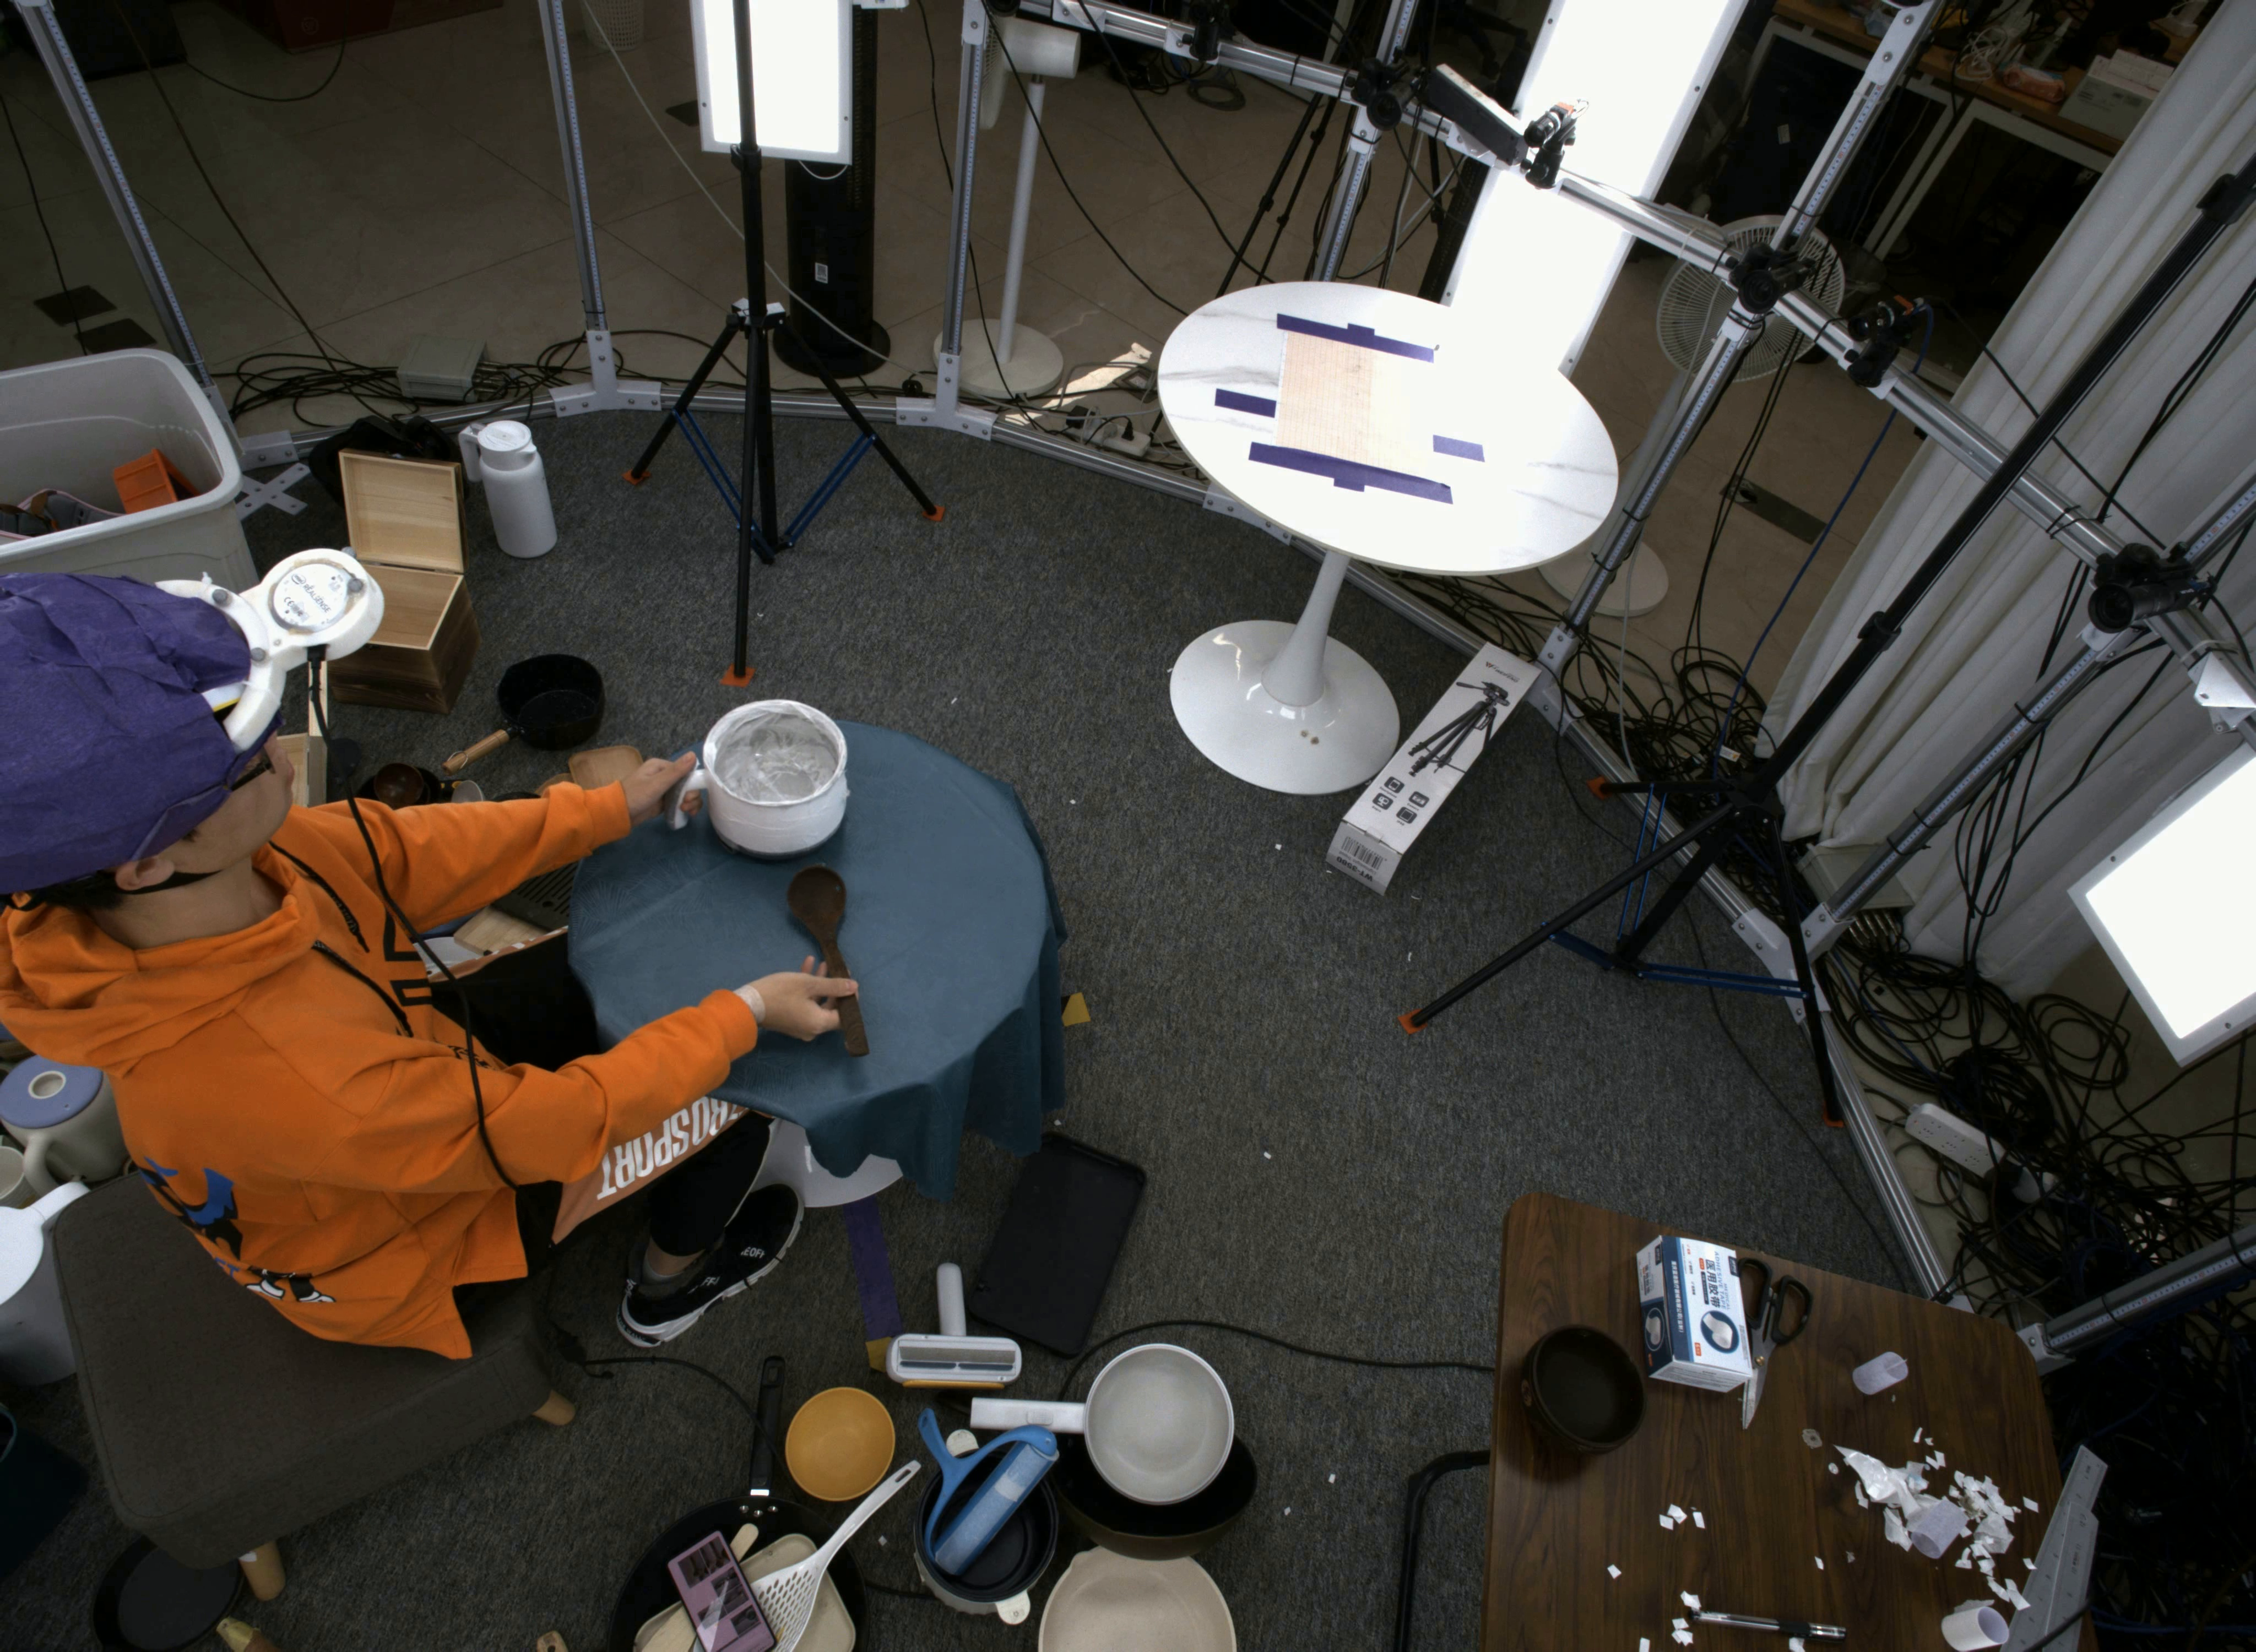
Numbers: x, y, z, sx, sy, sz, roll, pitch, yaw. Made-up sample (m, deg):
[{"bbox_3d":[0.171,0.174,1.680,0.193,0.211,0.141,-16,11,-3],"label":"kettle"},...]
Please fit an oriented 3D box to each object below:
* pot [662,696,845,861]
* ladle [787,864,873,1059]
[{"bbox_3d":[-0.478,-0.052,1.648,0.235,0.139,0.174,-11,55,-22],"label":"pot"},{"bbox_3d":[-0.350,0.152,1.552,0.076,0.073,0.265,-11,44,-20],"label":"ladle"}]
